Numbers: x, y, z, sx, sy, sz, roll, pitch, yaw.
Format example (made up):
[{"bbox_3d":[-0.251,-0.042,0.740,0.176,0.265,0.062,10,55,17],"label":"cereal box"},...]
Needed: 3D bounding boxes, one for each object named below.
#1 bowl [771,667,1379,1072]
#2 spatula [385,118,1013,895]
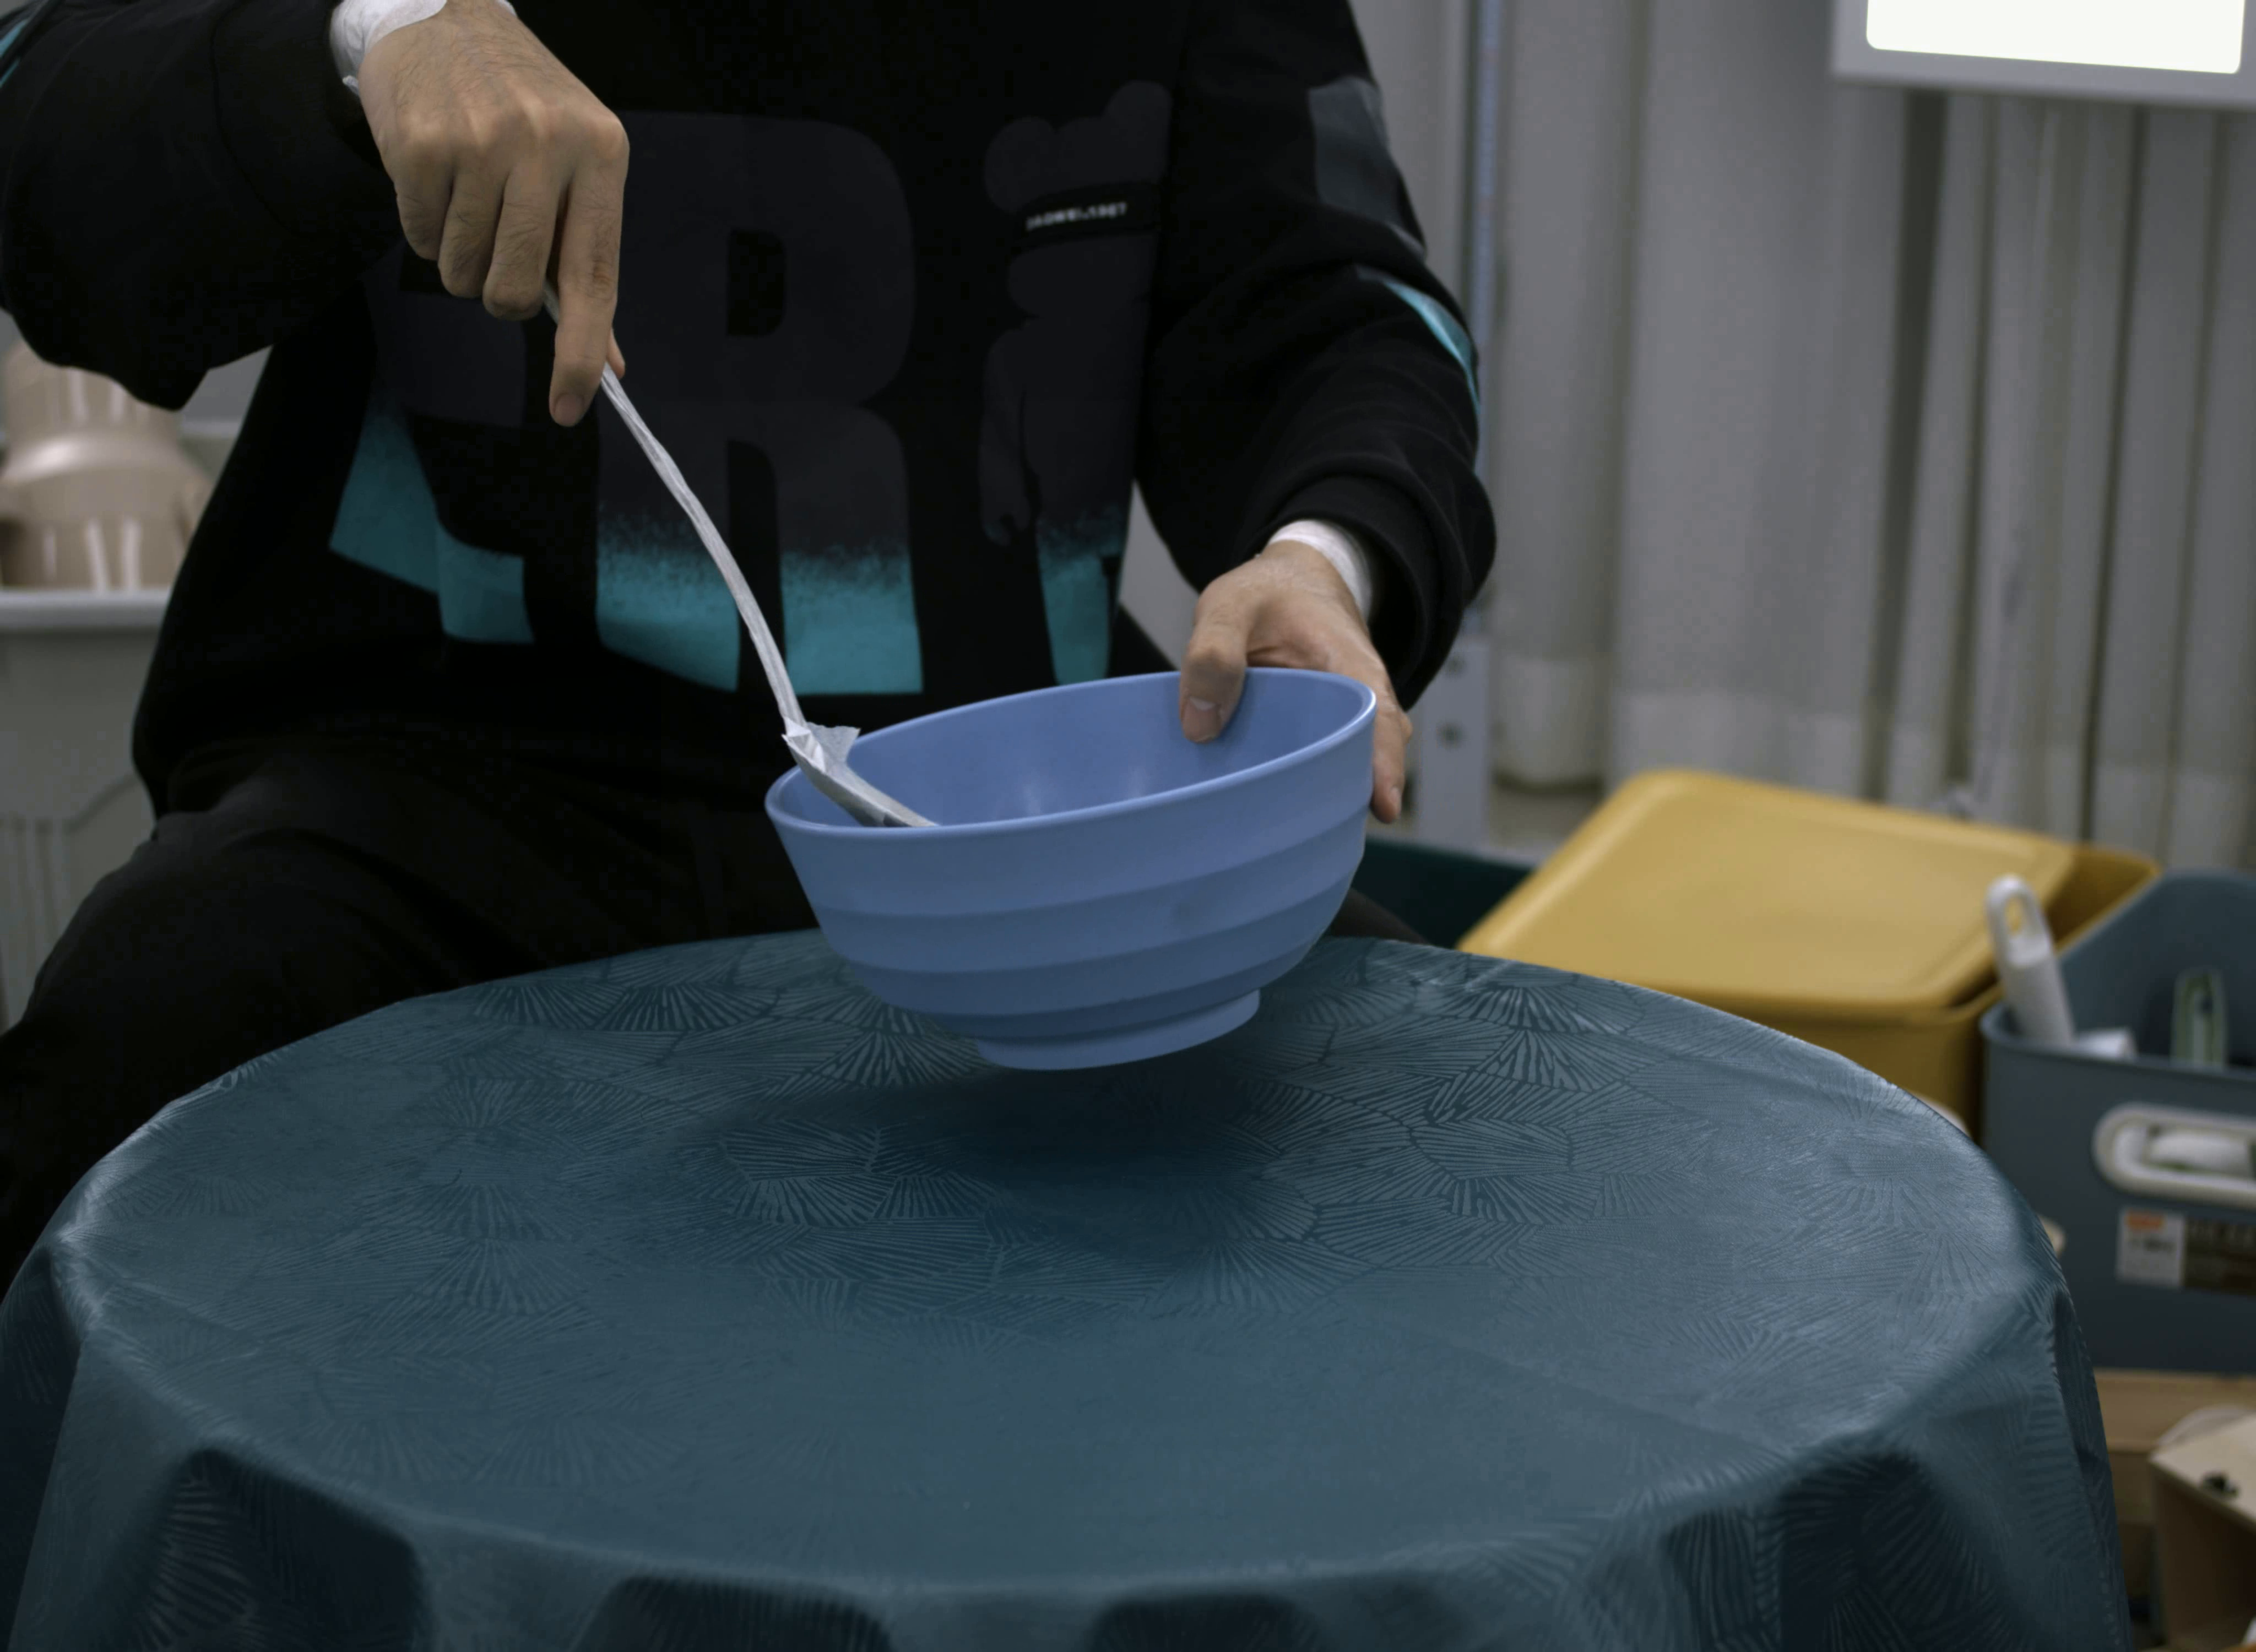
[{"bbox_3d":[-0.009,0.019,1.674,0.196,0.096,0.195,-10,13,3],"label":"bowl"},{"bbox_3d":[-0.135,-0.104,1.674,0.045,0.362,0.099,-37,-16,10],"label":"spatula"}]
